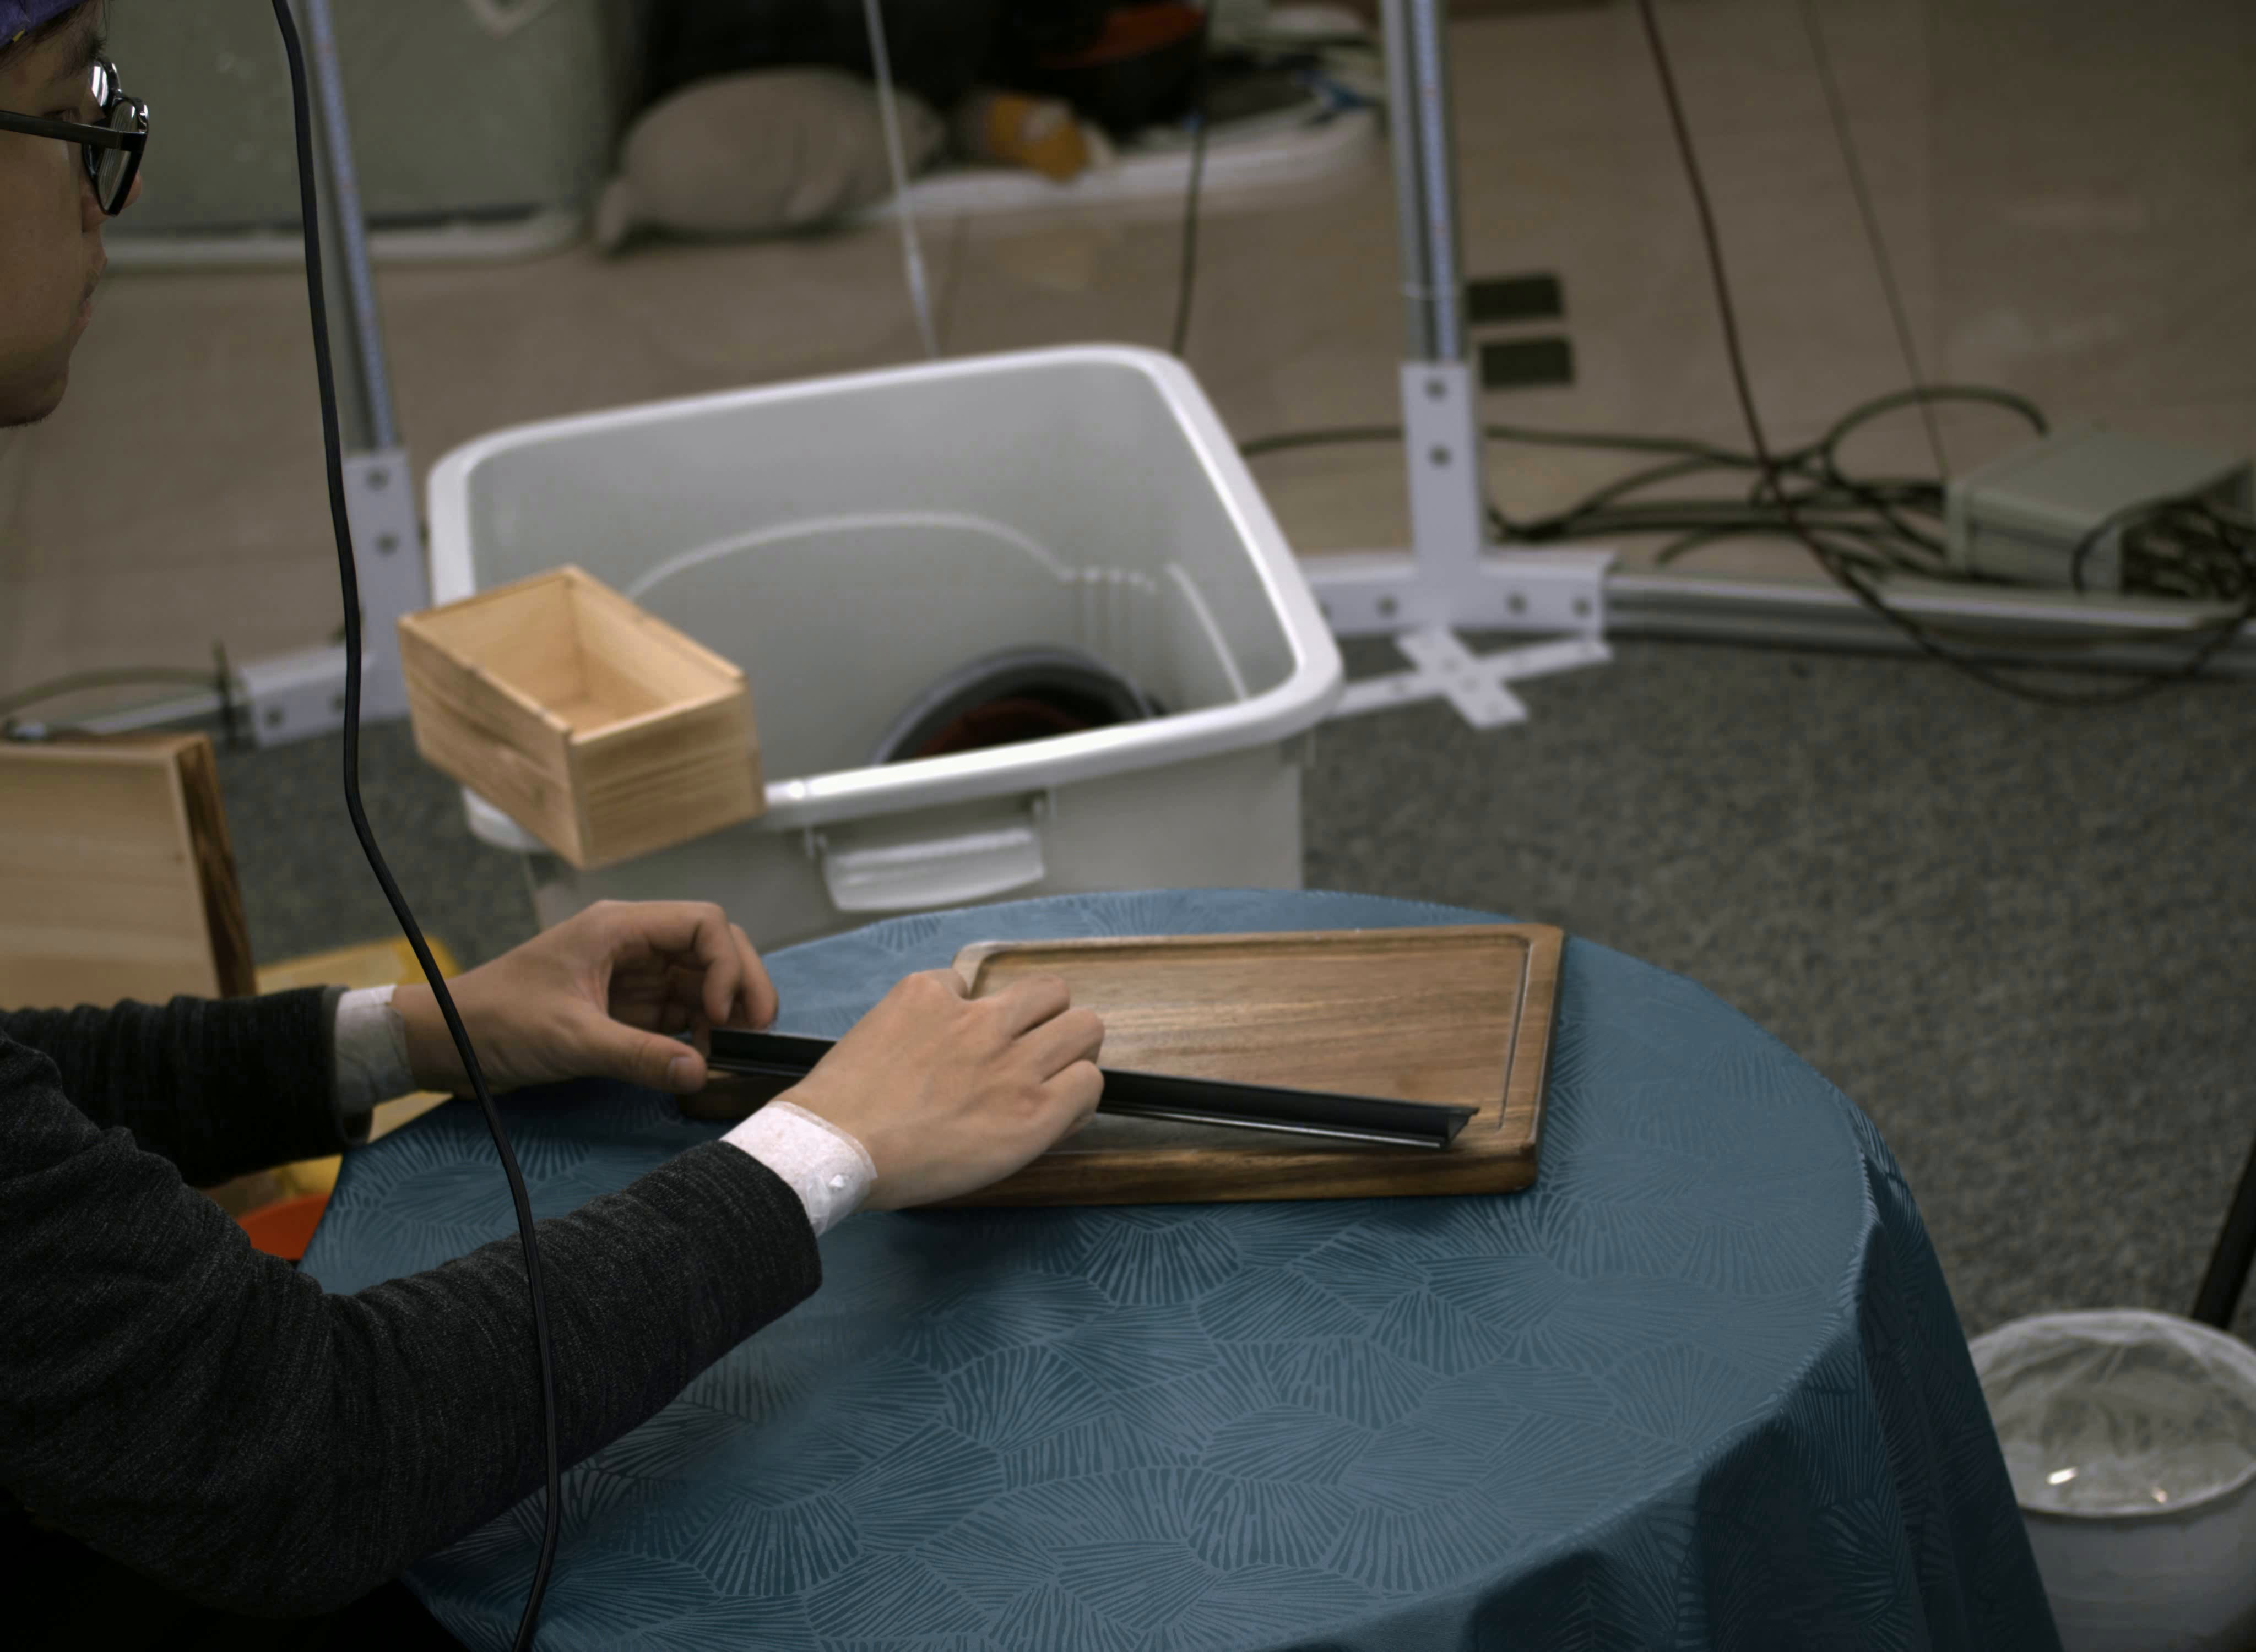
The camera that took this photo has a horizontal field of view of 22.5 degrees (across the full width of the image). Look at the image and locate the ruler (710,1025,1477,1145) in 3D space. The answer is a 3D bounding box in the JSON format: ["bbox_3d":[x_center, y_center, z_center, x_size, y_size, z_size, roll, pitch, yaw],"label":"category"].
[{"bbox_3d":[-0.017,0.093,2.166,0.311,0.017,0.039,5,21,25],"label":"ruler"}]

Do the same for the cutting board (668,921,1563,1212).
[{"bbox_3d":[-0.008,0.094,2.222,0.351,0.023,0.198,-3,25,9],"label":"cutting board"}]
